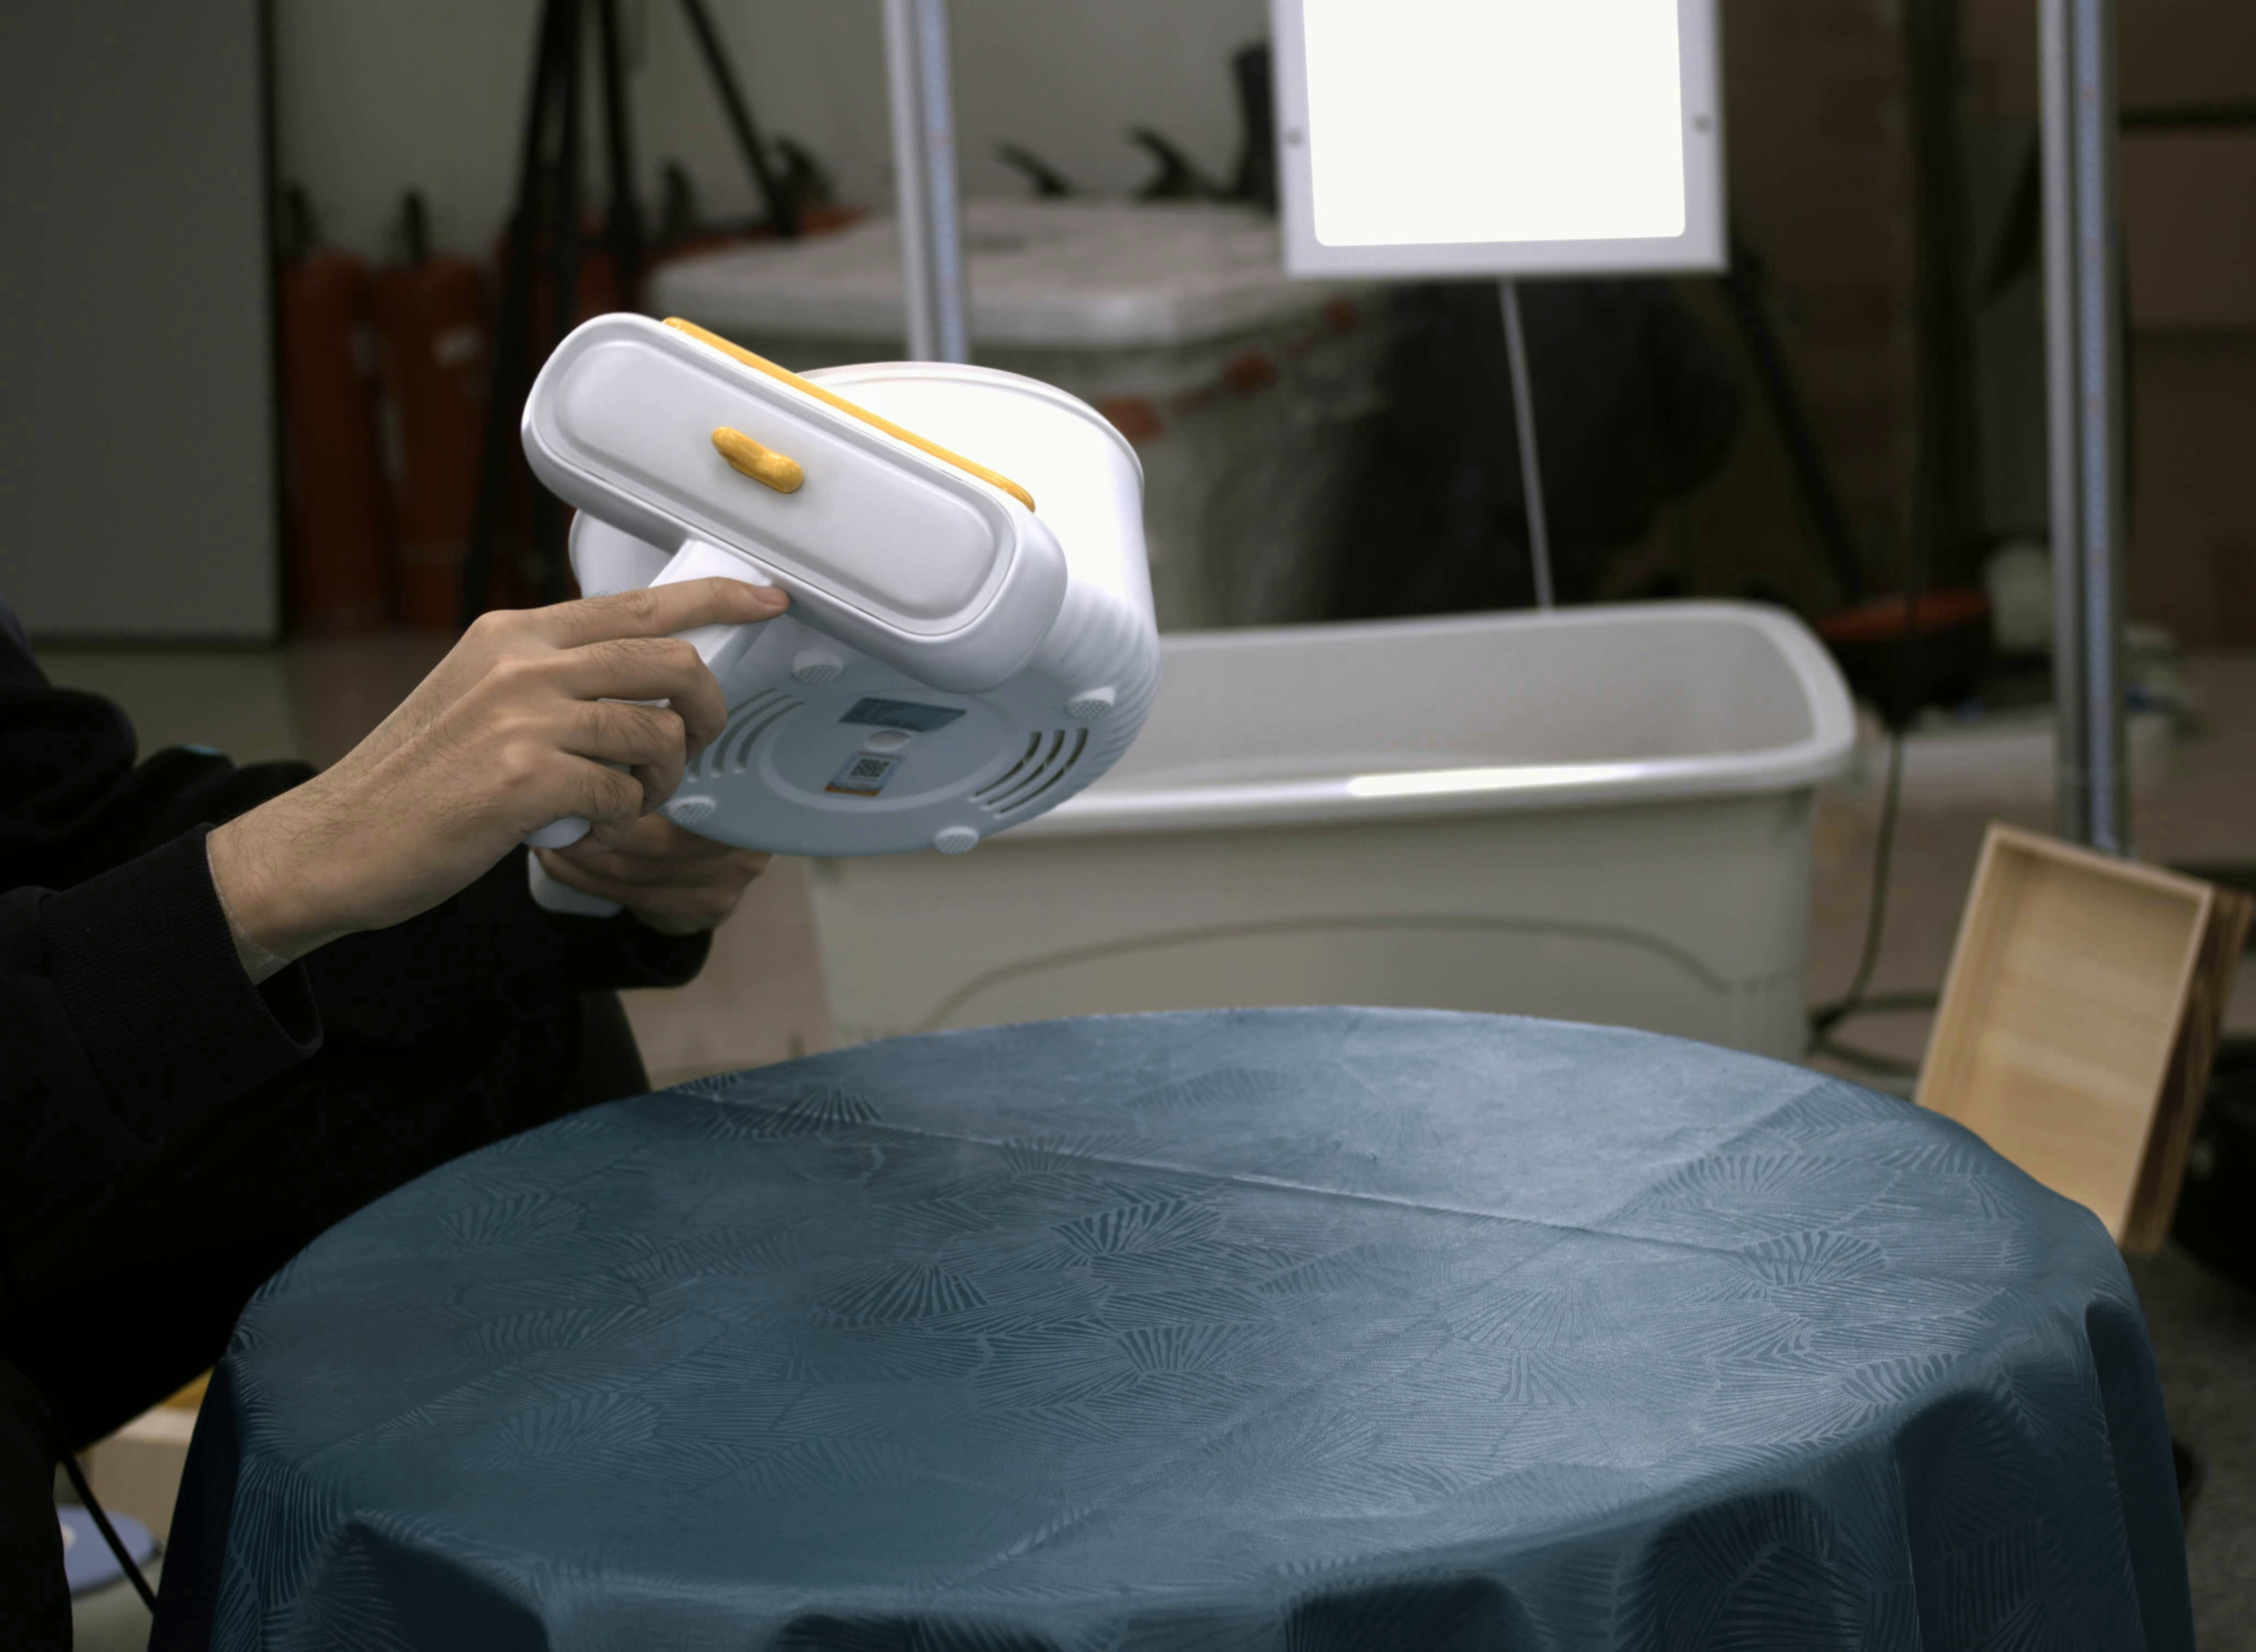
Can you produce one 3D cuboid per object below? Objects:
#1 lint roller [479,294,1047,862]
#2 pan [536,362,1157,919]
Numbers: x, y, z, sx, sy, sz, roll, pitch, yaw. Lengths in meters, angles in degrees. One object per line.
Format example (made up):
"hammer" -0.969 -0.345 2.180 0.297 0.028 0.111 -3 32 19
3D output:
"lint roller" -0.144 -0.065 1.754 0.194 0.191 0.074 26 -18 14
"pan" -0.124 -0.030 1.950 0.197 0.102 0.362 6 -30 -28
